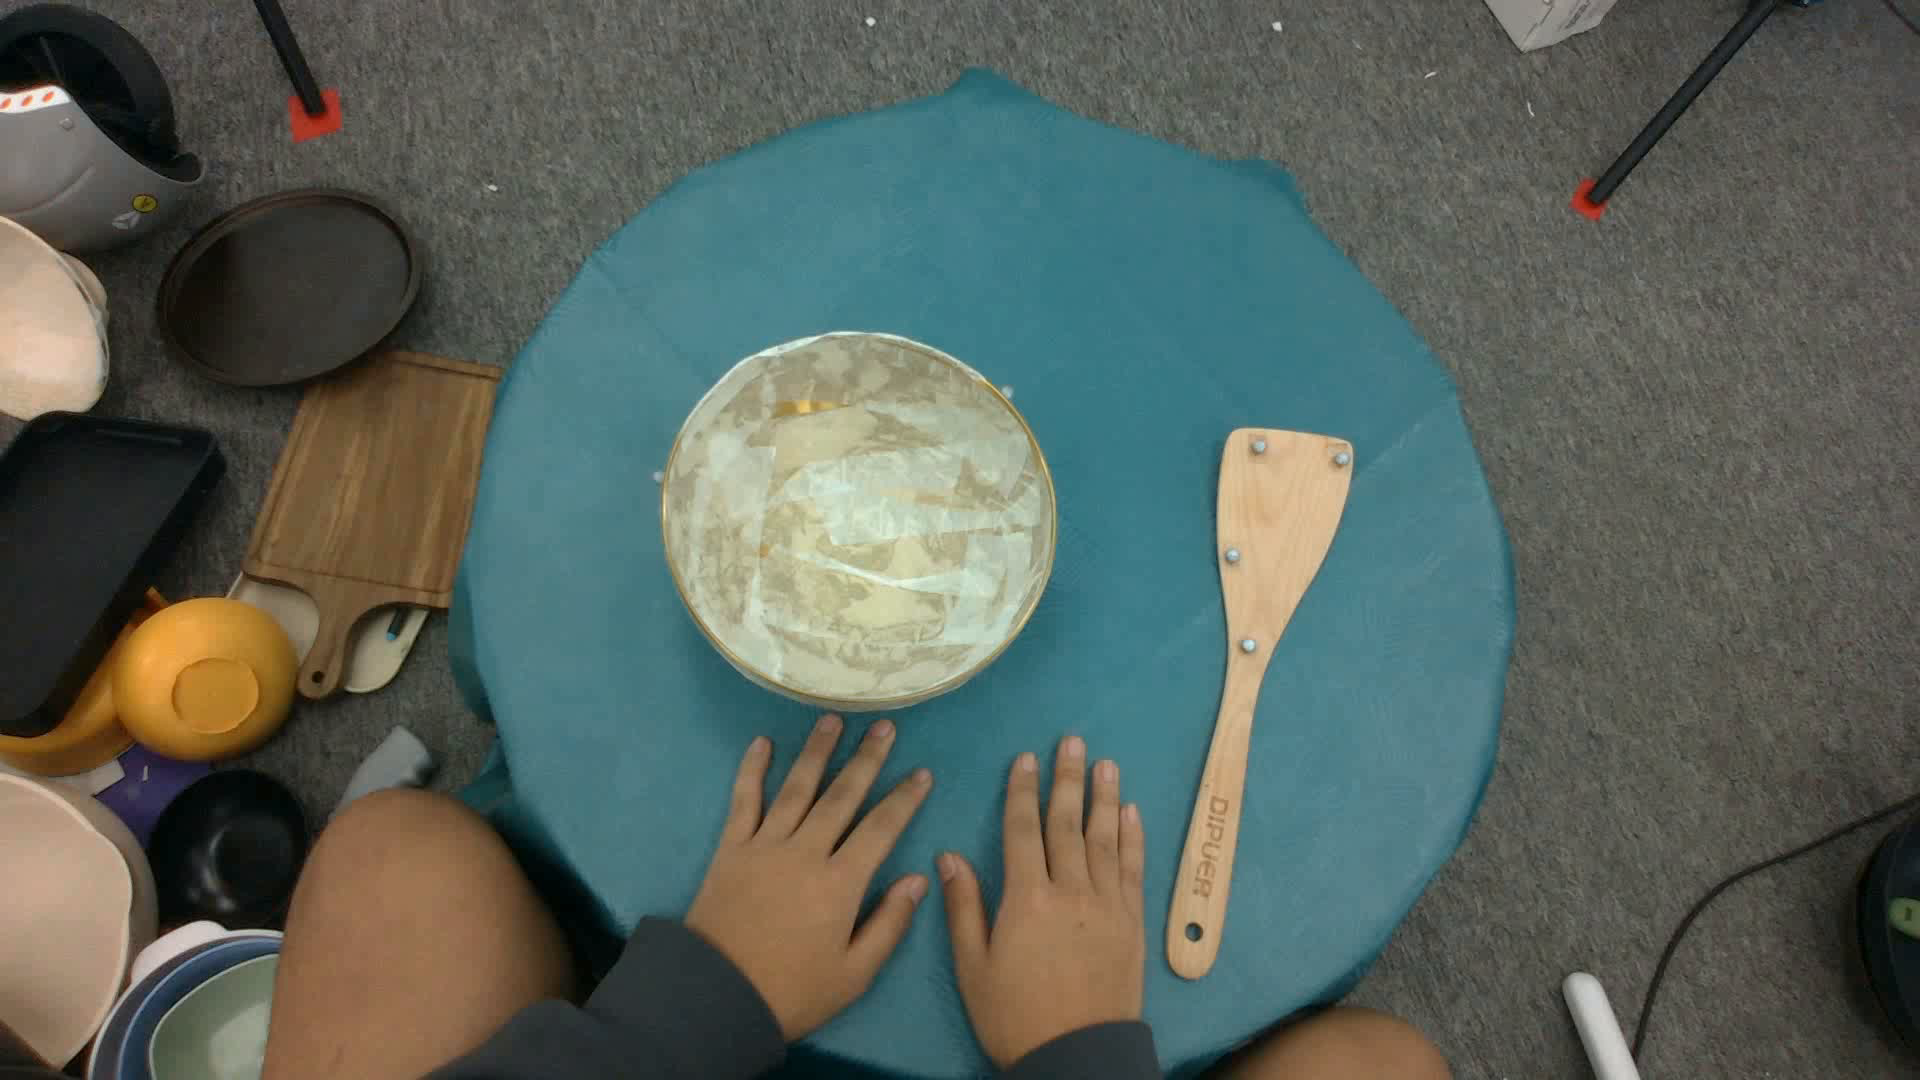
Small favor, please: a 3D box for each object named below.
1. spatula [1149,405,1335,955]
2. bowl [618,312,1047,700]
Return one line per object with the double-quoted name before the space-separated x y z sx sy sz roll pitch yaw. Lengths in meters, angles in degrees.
"spatula" 0.149 0.066 0.771 0.080 0.016 0.329 17 68 -3
"bowl" -0.065 -0.007 0.723 0.215 0.094 0.215 3 68 -8
